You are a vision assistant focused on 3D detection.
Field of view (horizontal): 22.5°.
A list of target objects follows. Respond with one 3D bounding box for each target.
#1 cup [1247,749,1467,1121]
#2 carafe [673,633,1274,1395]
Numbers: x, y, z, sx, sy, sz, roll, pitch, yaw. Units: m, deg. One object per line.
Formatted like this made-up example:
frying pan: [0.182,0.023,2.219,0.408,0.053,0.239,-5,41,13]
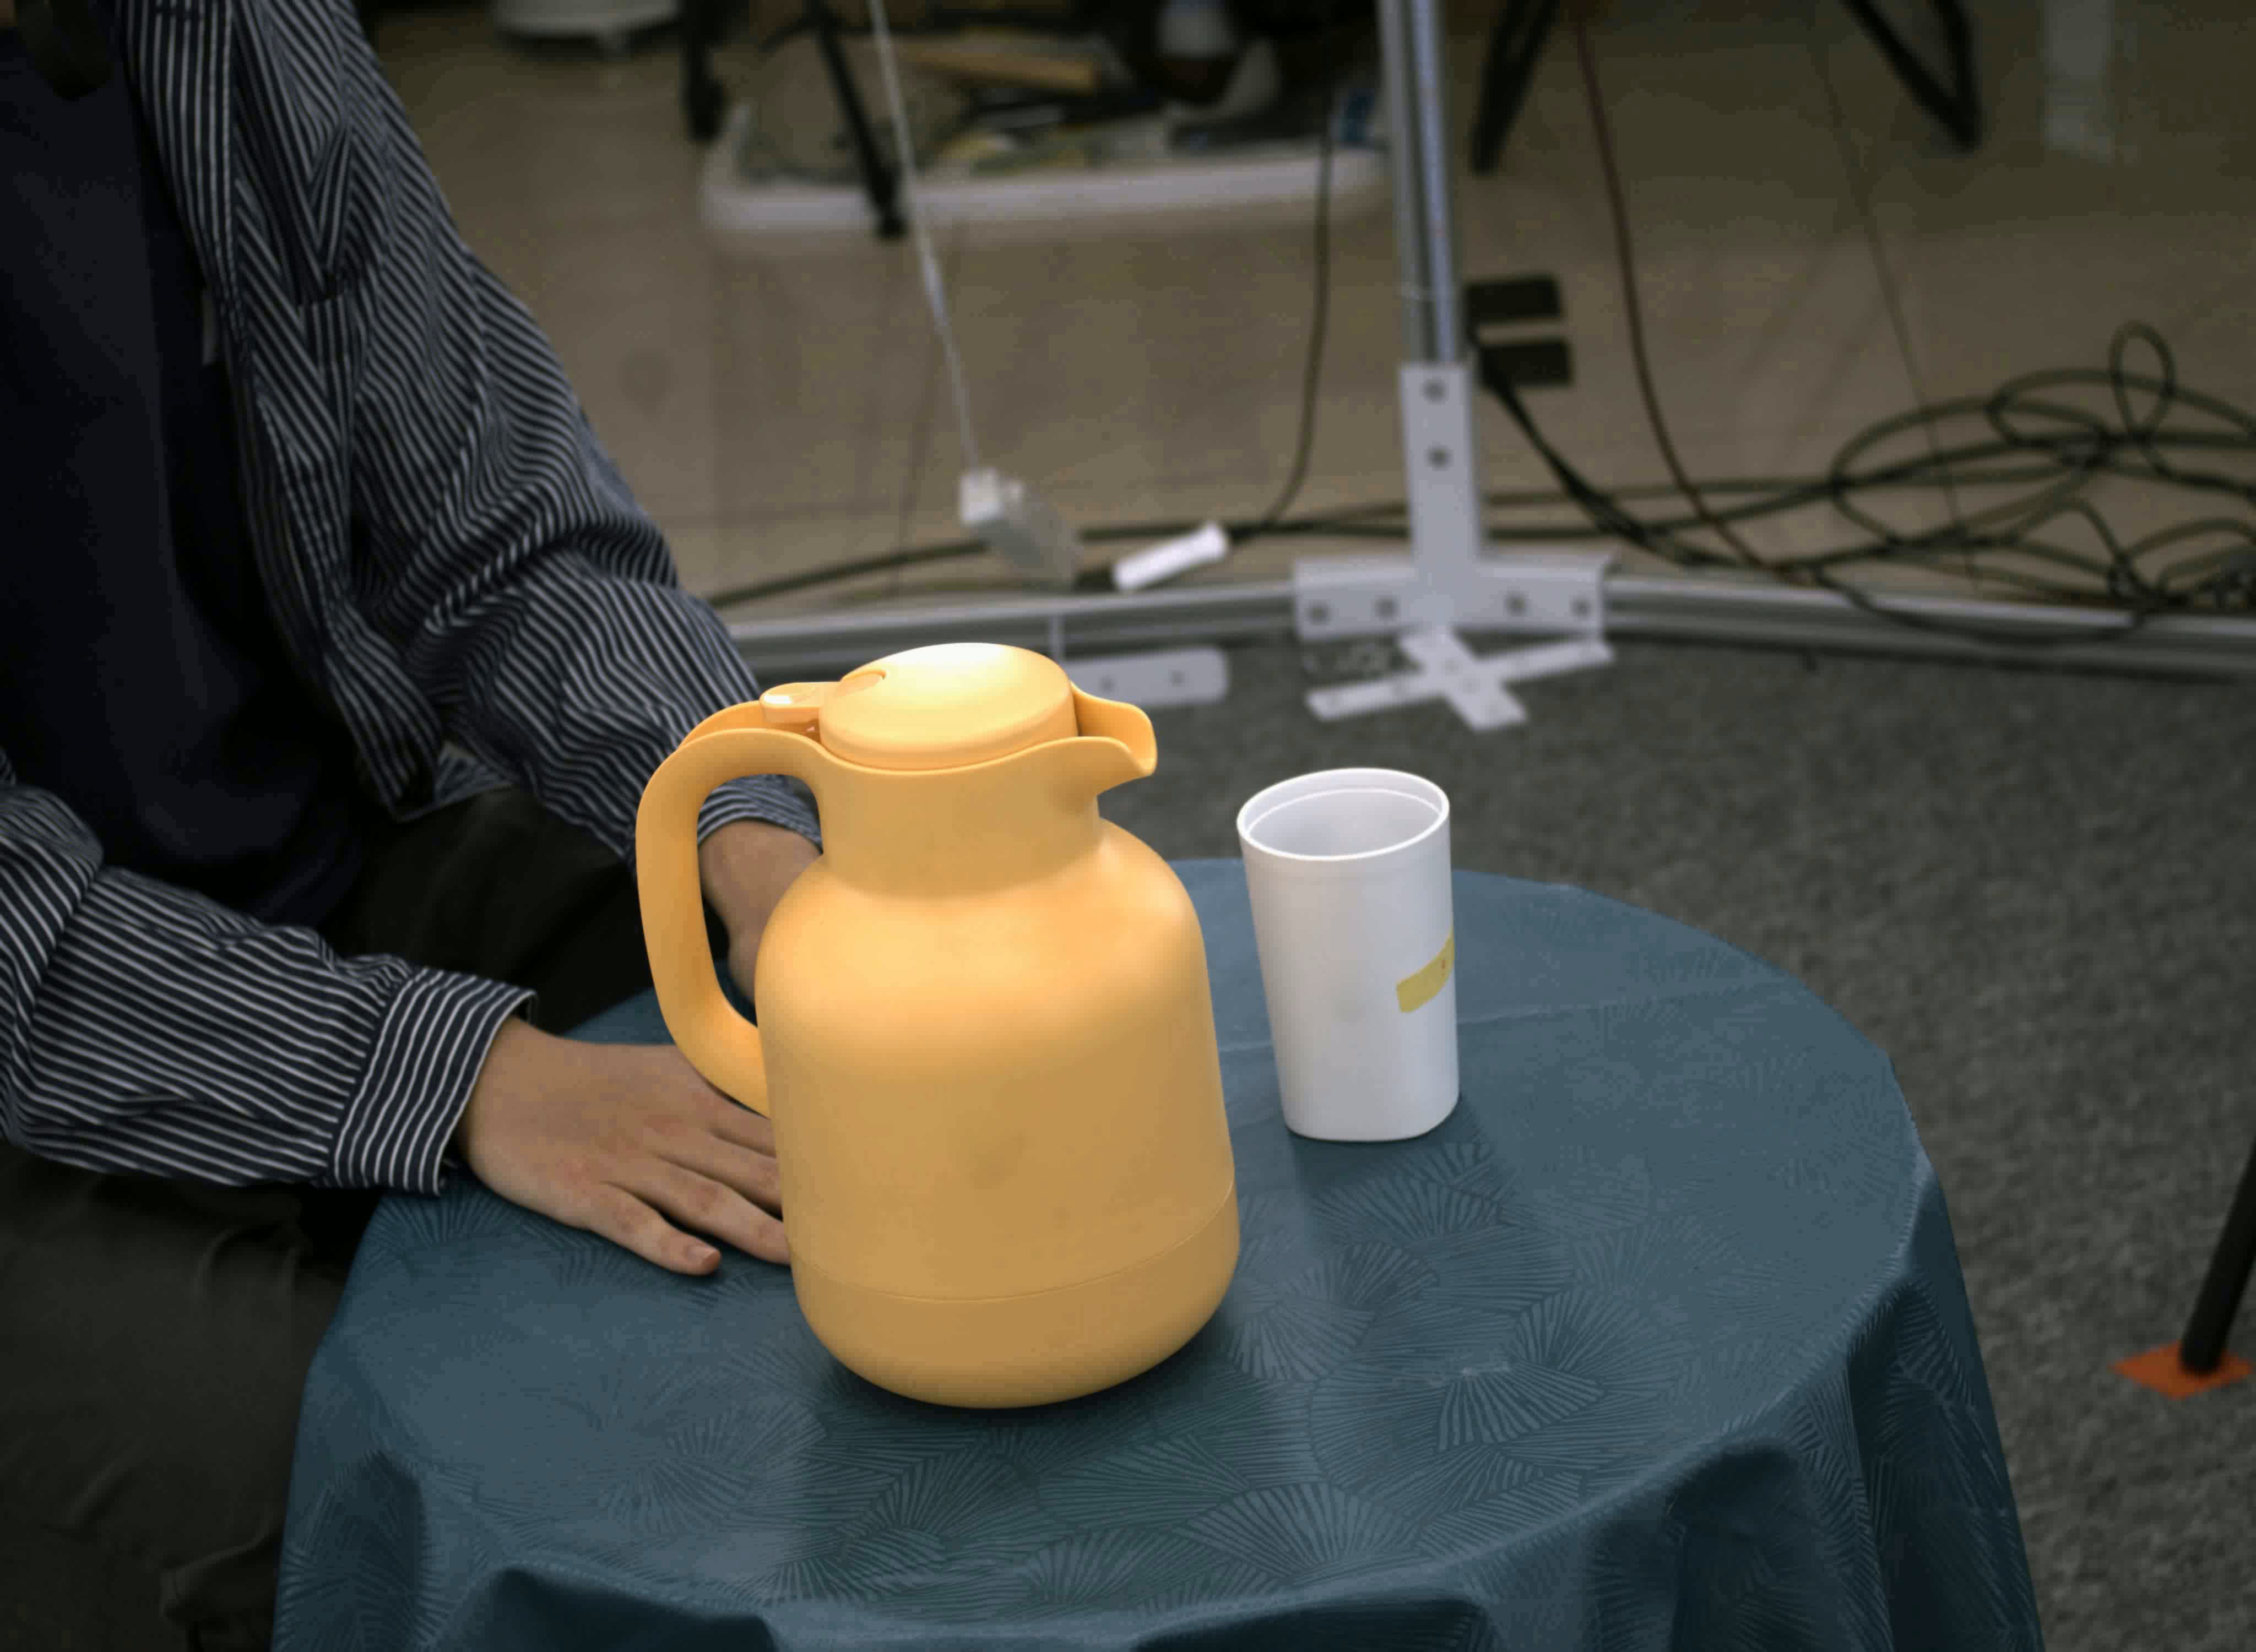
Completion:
cup: [0.092,0.044,2.176,0.081,0.127,0.080,-6,26,3]
carafe: [-0.056,0.061,2.020,0.202,0.264,0.161,2,27,16]
